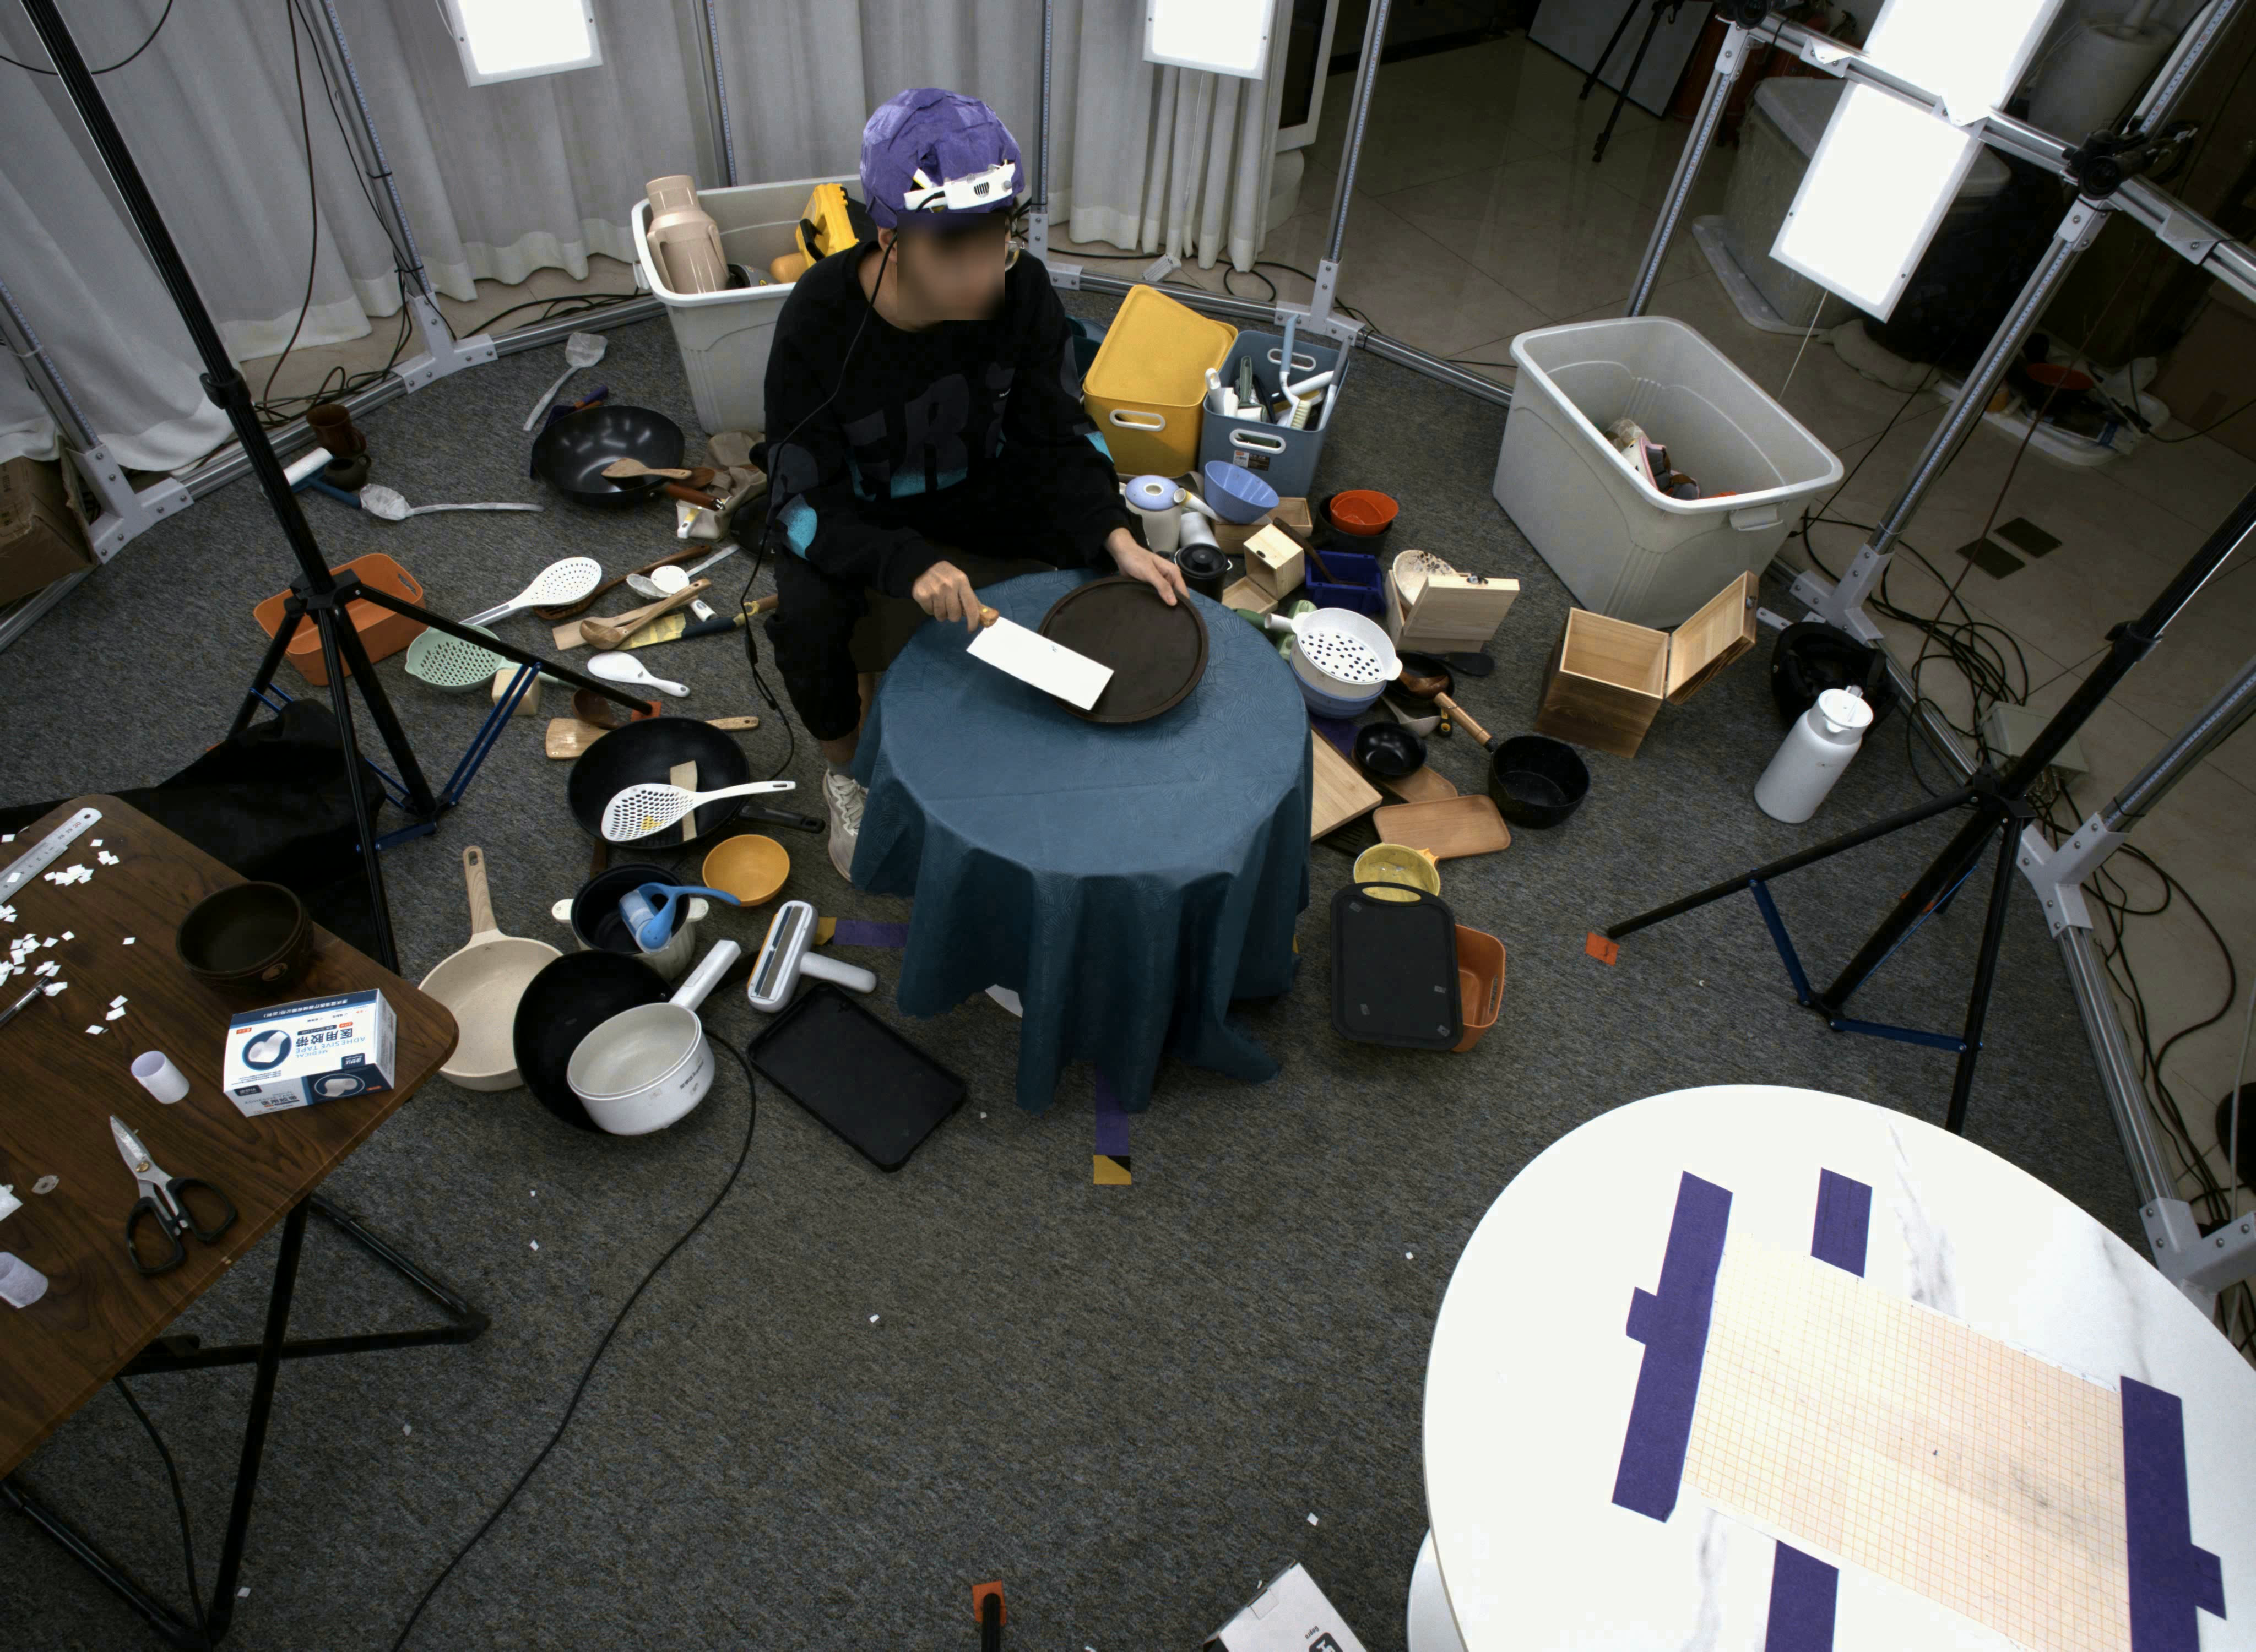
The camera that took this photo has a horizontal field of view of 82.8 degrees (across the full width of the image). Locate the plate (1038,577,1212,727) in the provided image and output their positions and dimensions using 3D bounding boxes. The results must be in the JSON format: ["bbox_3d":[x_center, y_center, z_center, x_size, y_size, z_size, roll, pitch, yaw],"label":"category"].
[{"bbox_3d":[-0.006,-0.249,1.833,0.255,0.028,0.260,-3,62,5],"label":"plate"}]

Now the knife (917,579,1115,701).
[{"bbox_3d":[-0.166,-0.256,1.801,0.306,0.020,0.095,25,52,4],"label":"knife"}]
